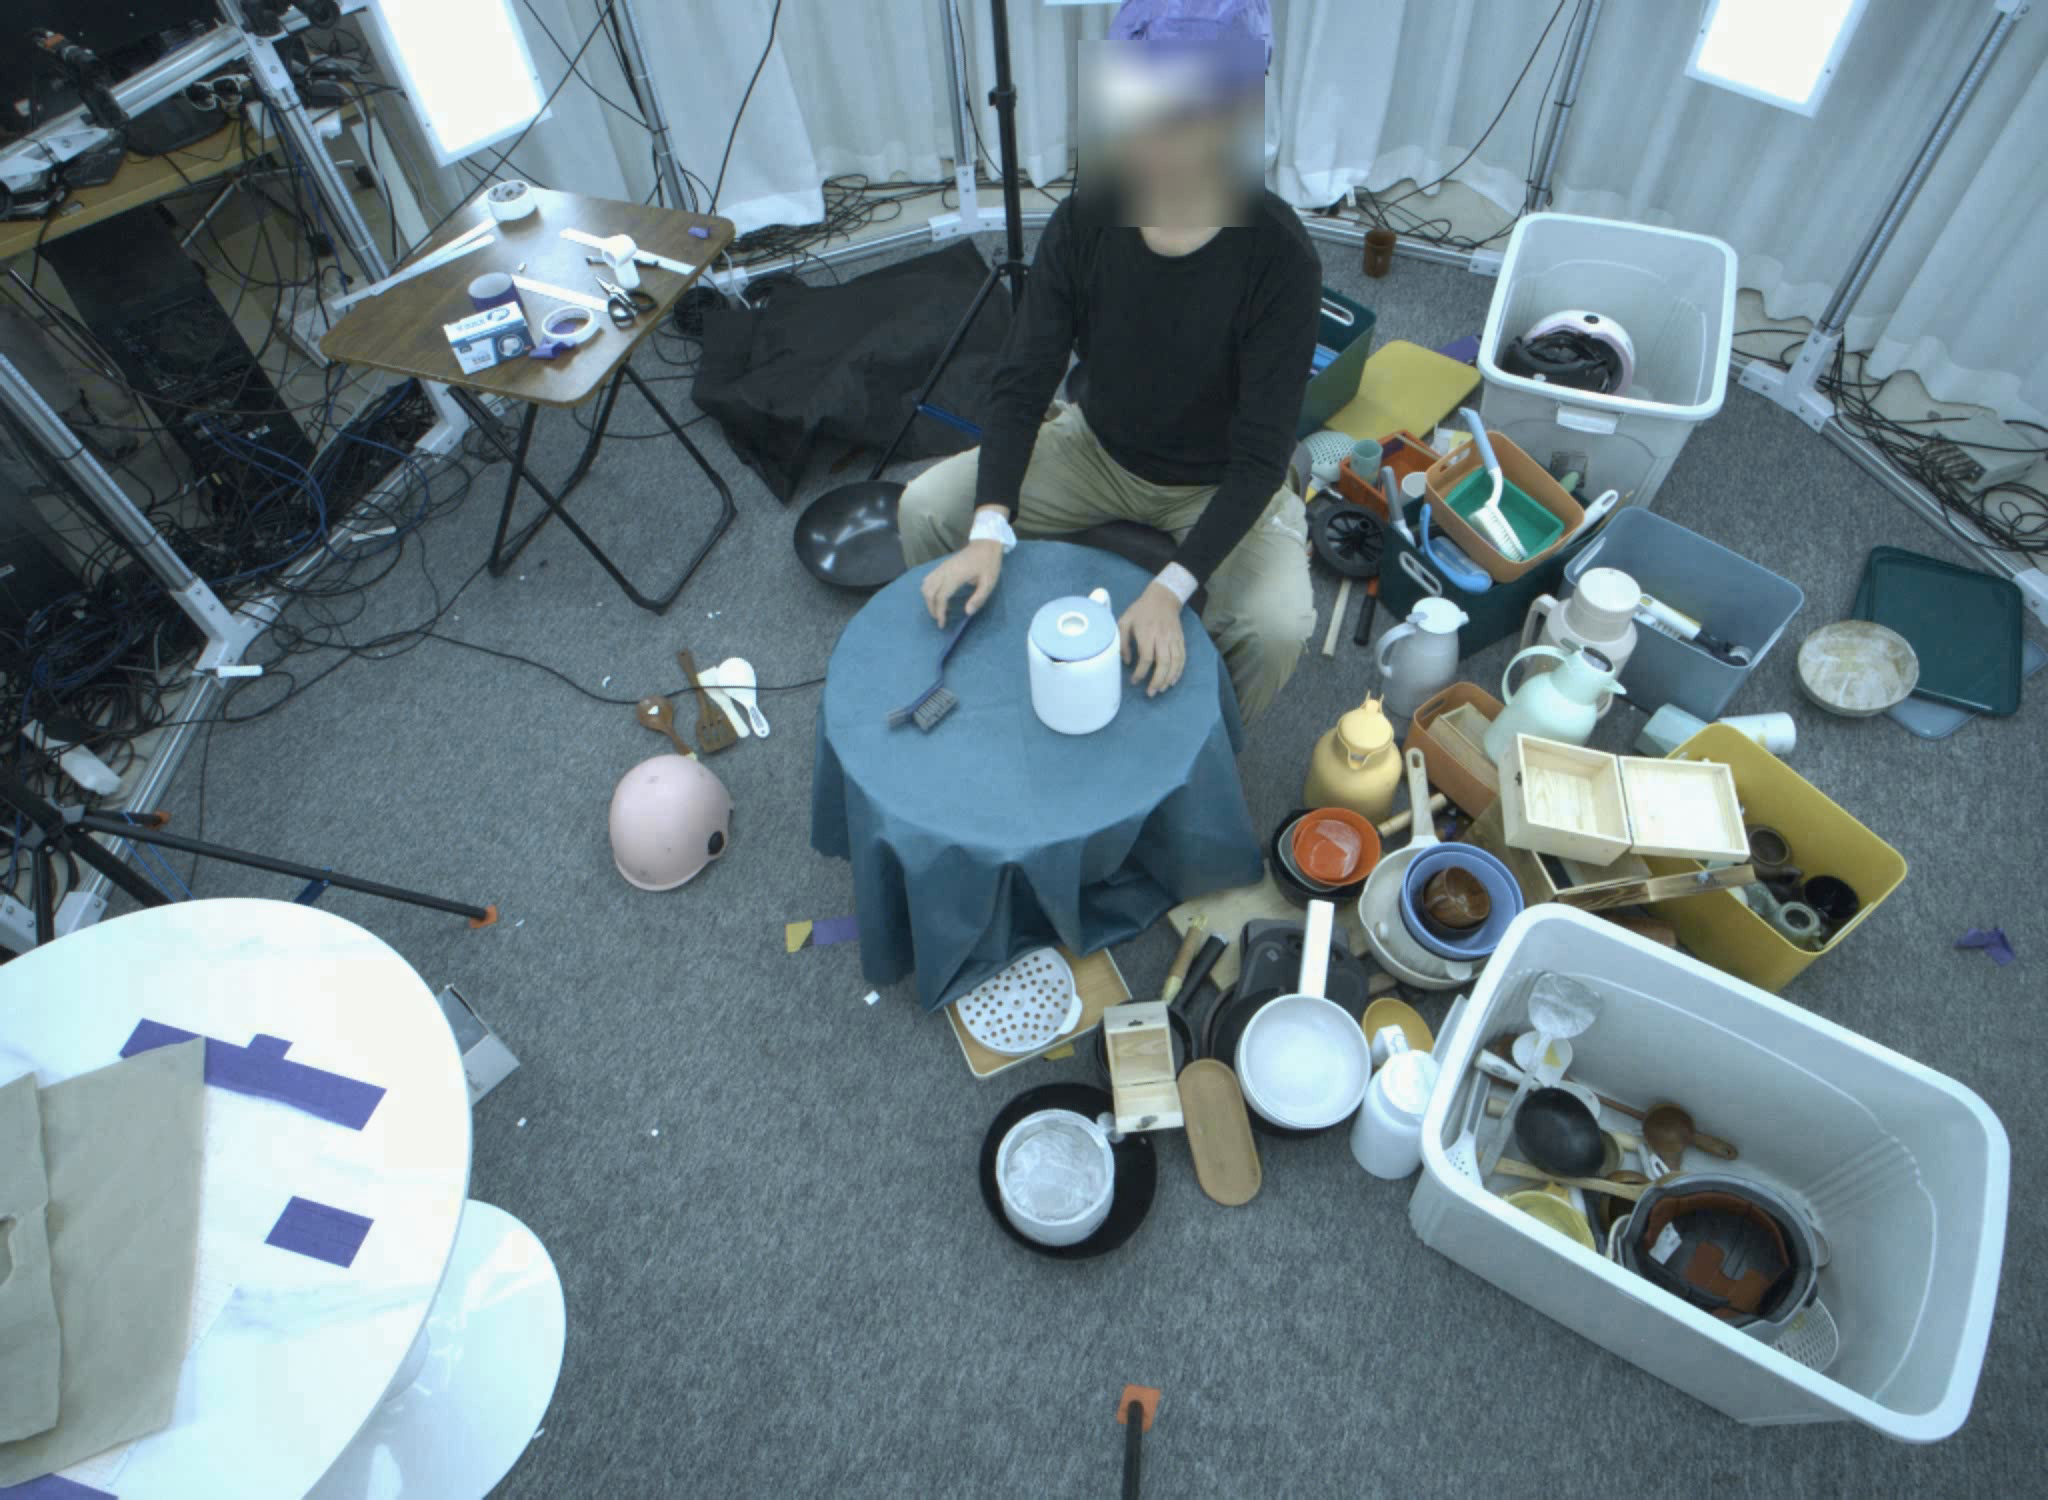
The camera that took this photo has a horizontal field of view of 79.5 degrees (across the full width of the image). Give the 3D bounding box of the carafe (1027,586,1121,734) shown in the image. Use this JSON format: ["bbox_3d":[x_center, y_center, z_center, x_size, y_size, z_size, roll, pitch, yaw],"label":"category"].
[{"bbox_3d":[0.082,-0.140,1.778,0.131,0.184,0.191,17,56,15],"label":"carafe"}]

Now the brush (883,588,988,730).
[{"bbox_3d":[-0.128,-0.144,1.875,0.095,0.034,0.272,11,57,13],"label":"brush"}]
